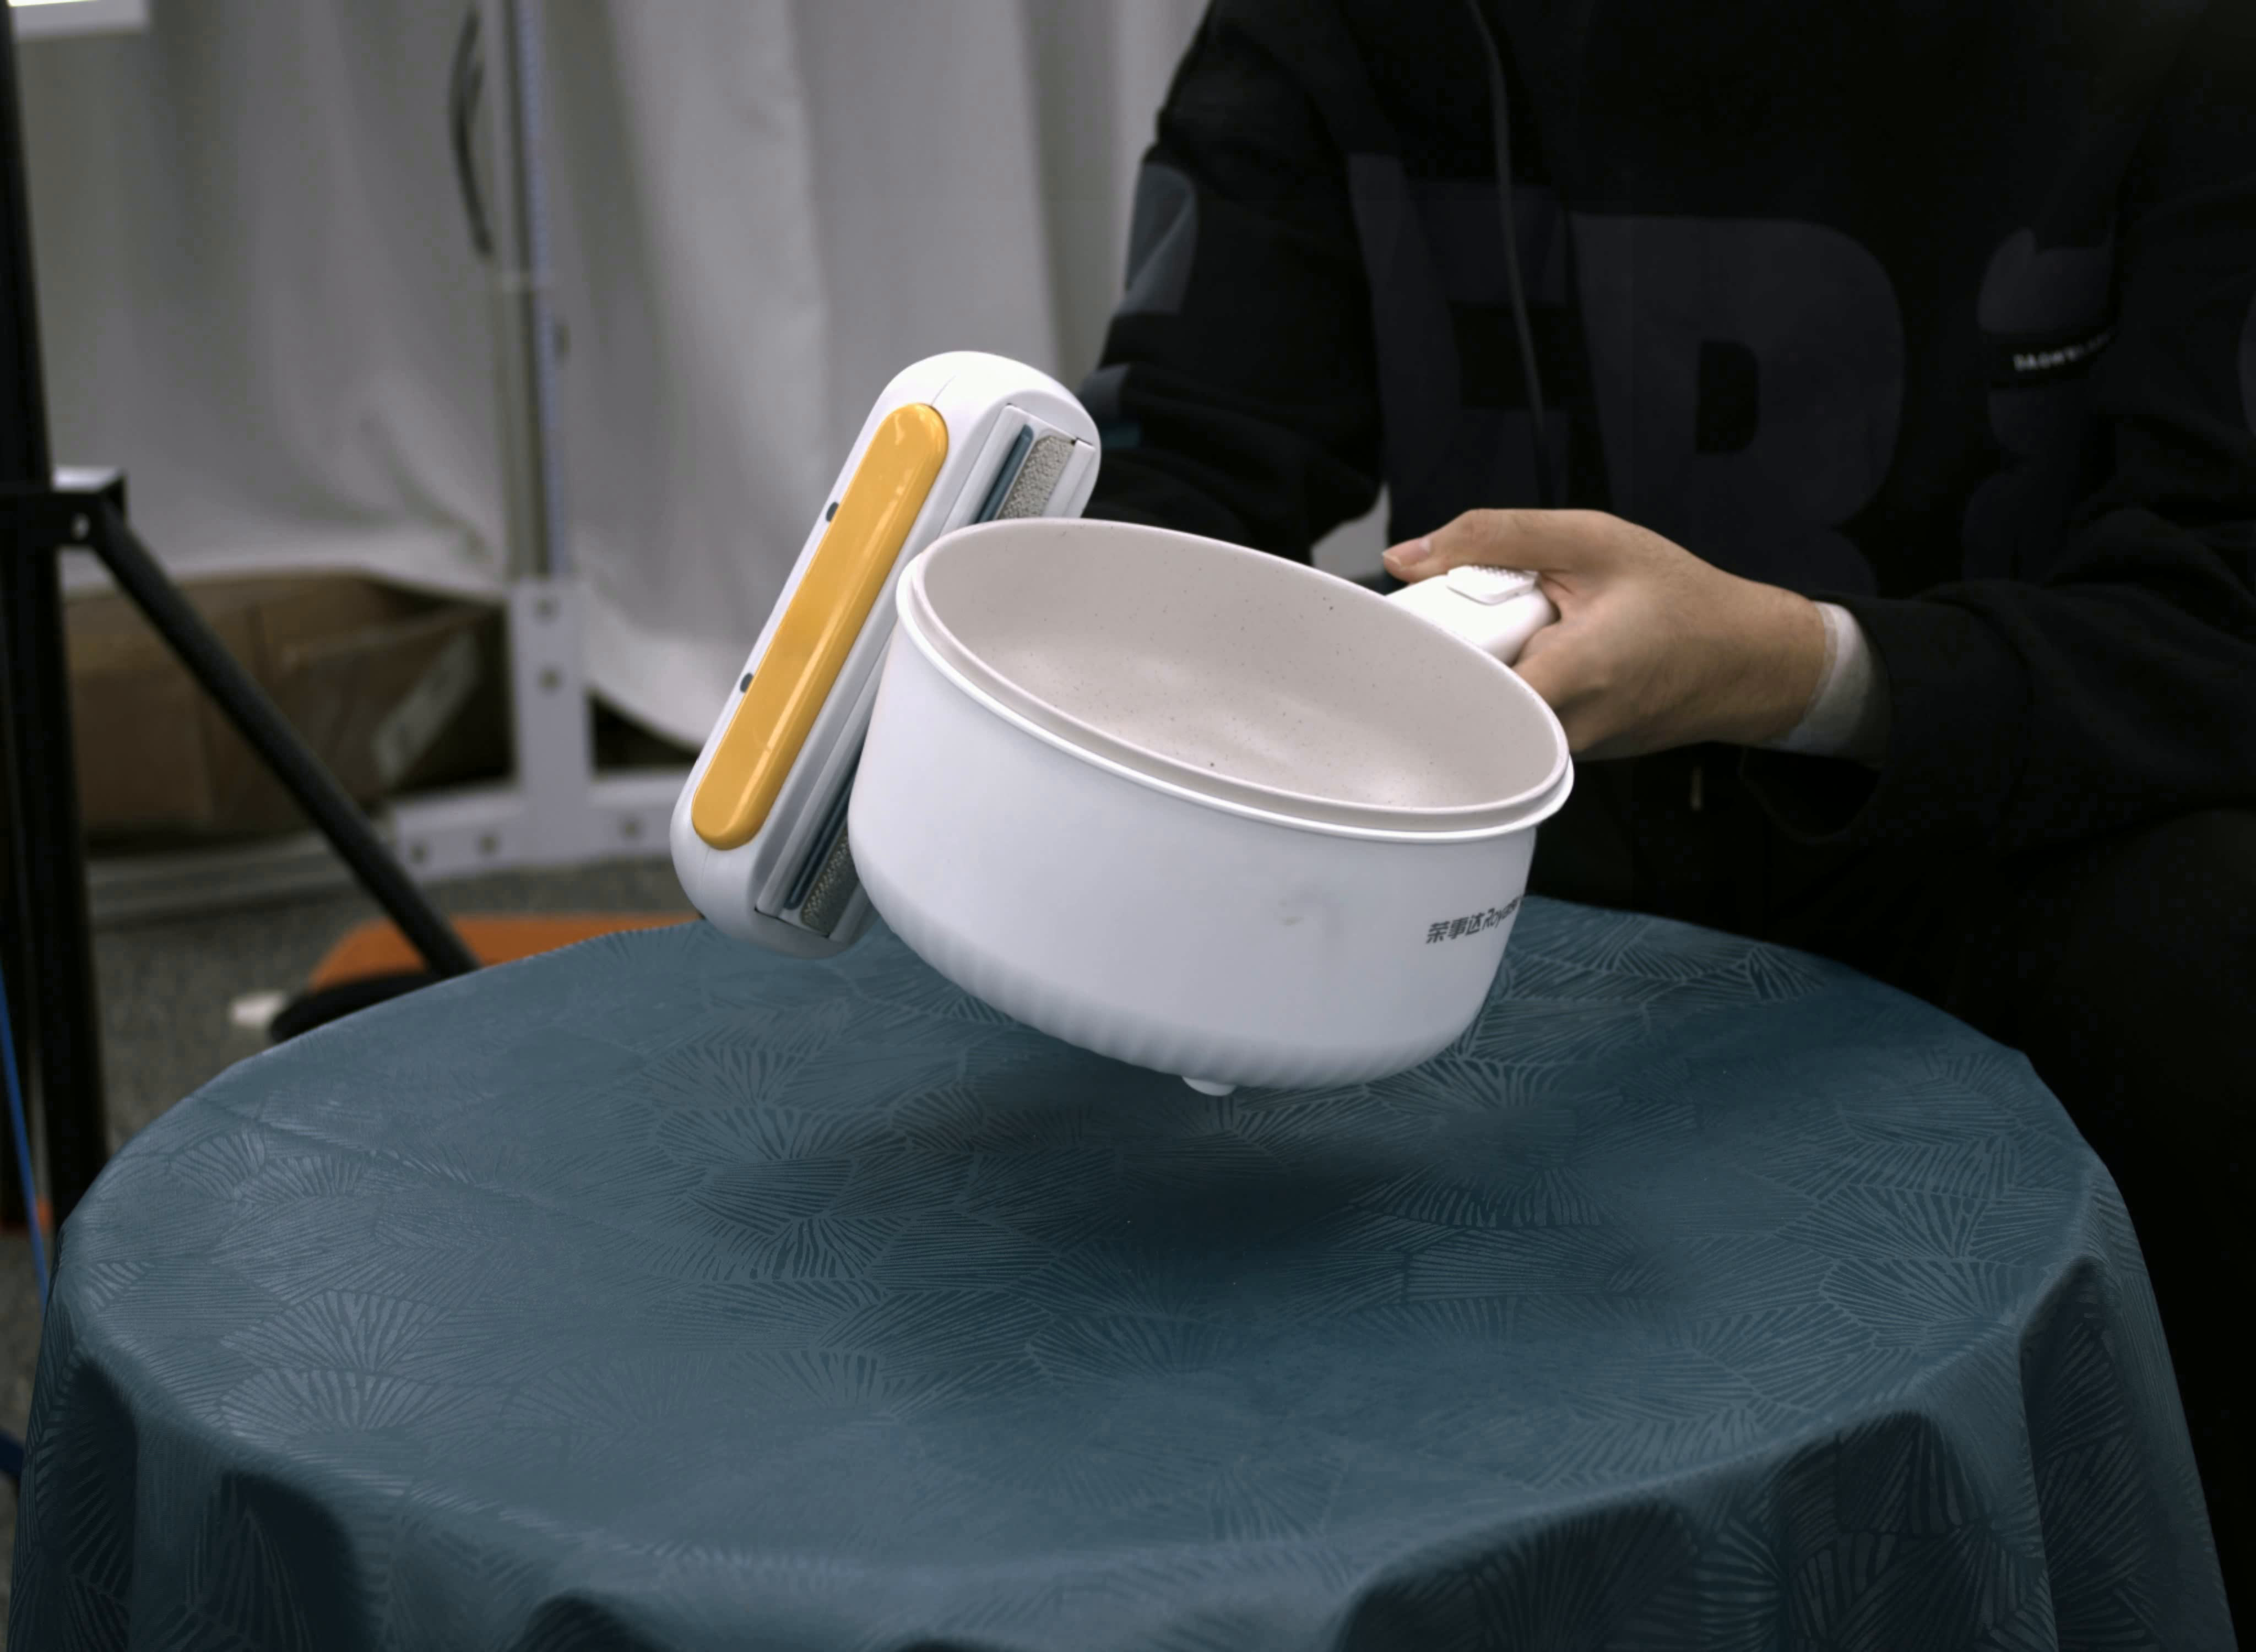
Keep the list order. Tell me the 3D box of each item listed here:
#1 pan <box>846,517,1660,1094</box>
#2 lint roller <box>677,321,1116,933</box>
[{"bbox_3d":[0.057,-0.017,1.592,0.204,0.102,0.348,26,23,24],"label":"pan"},{"bbox_3d":[-0.049,-0.047,1.653,0.076,0.193,0.188,23,-2,33],"label":"lint roller"}]
